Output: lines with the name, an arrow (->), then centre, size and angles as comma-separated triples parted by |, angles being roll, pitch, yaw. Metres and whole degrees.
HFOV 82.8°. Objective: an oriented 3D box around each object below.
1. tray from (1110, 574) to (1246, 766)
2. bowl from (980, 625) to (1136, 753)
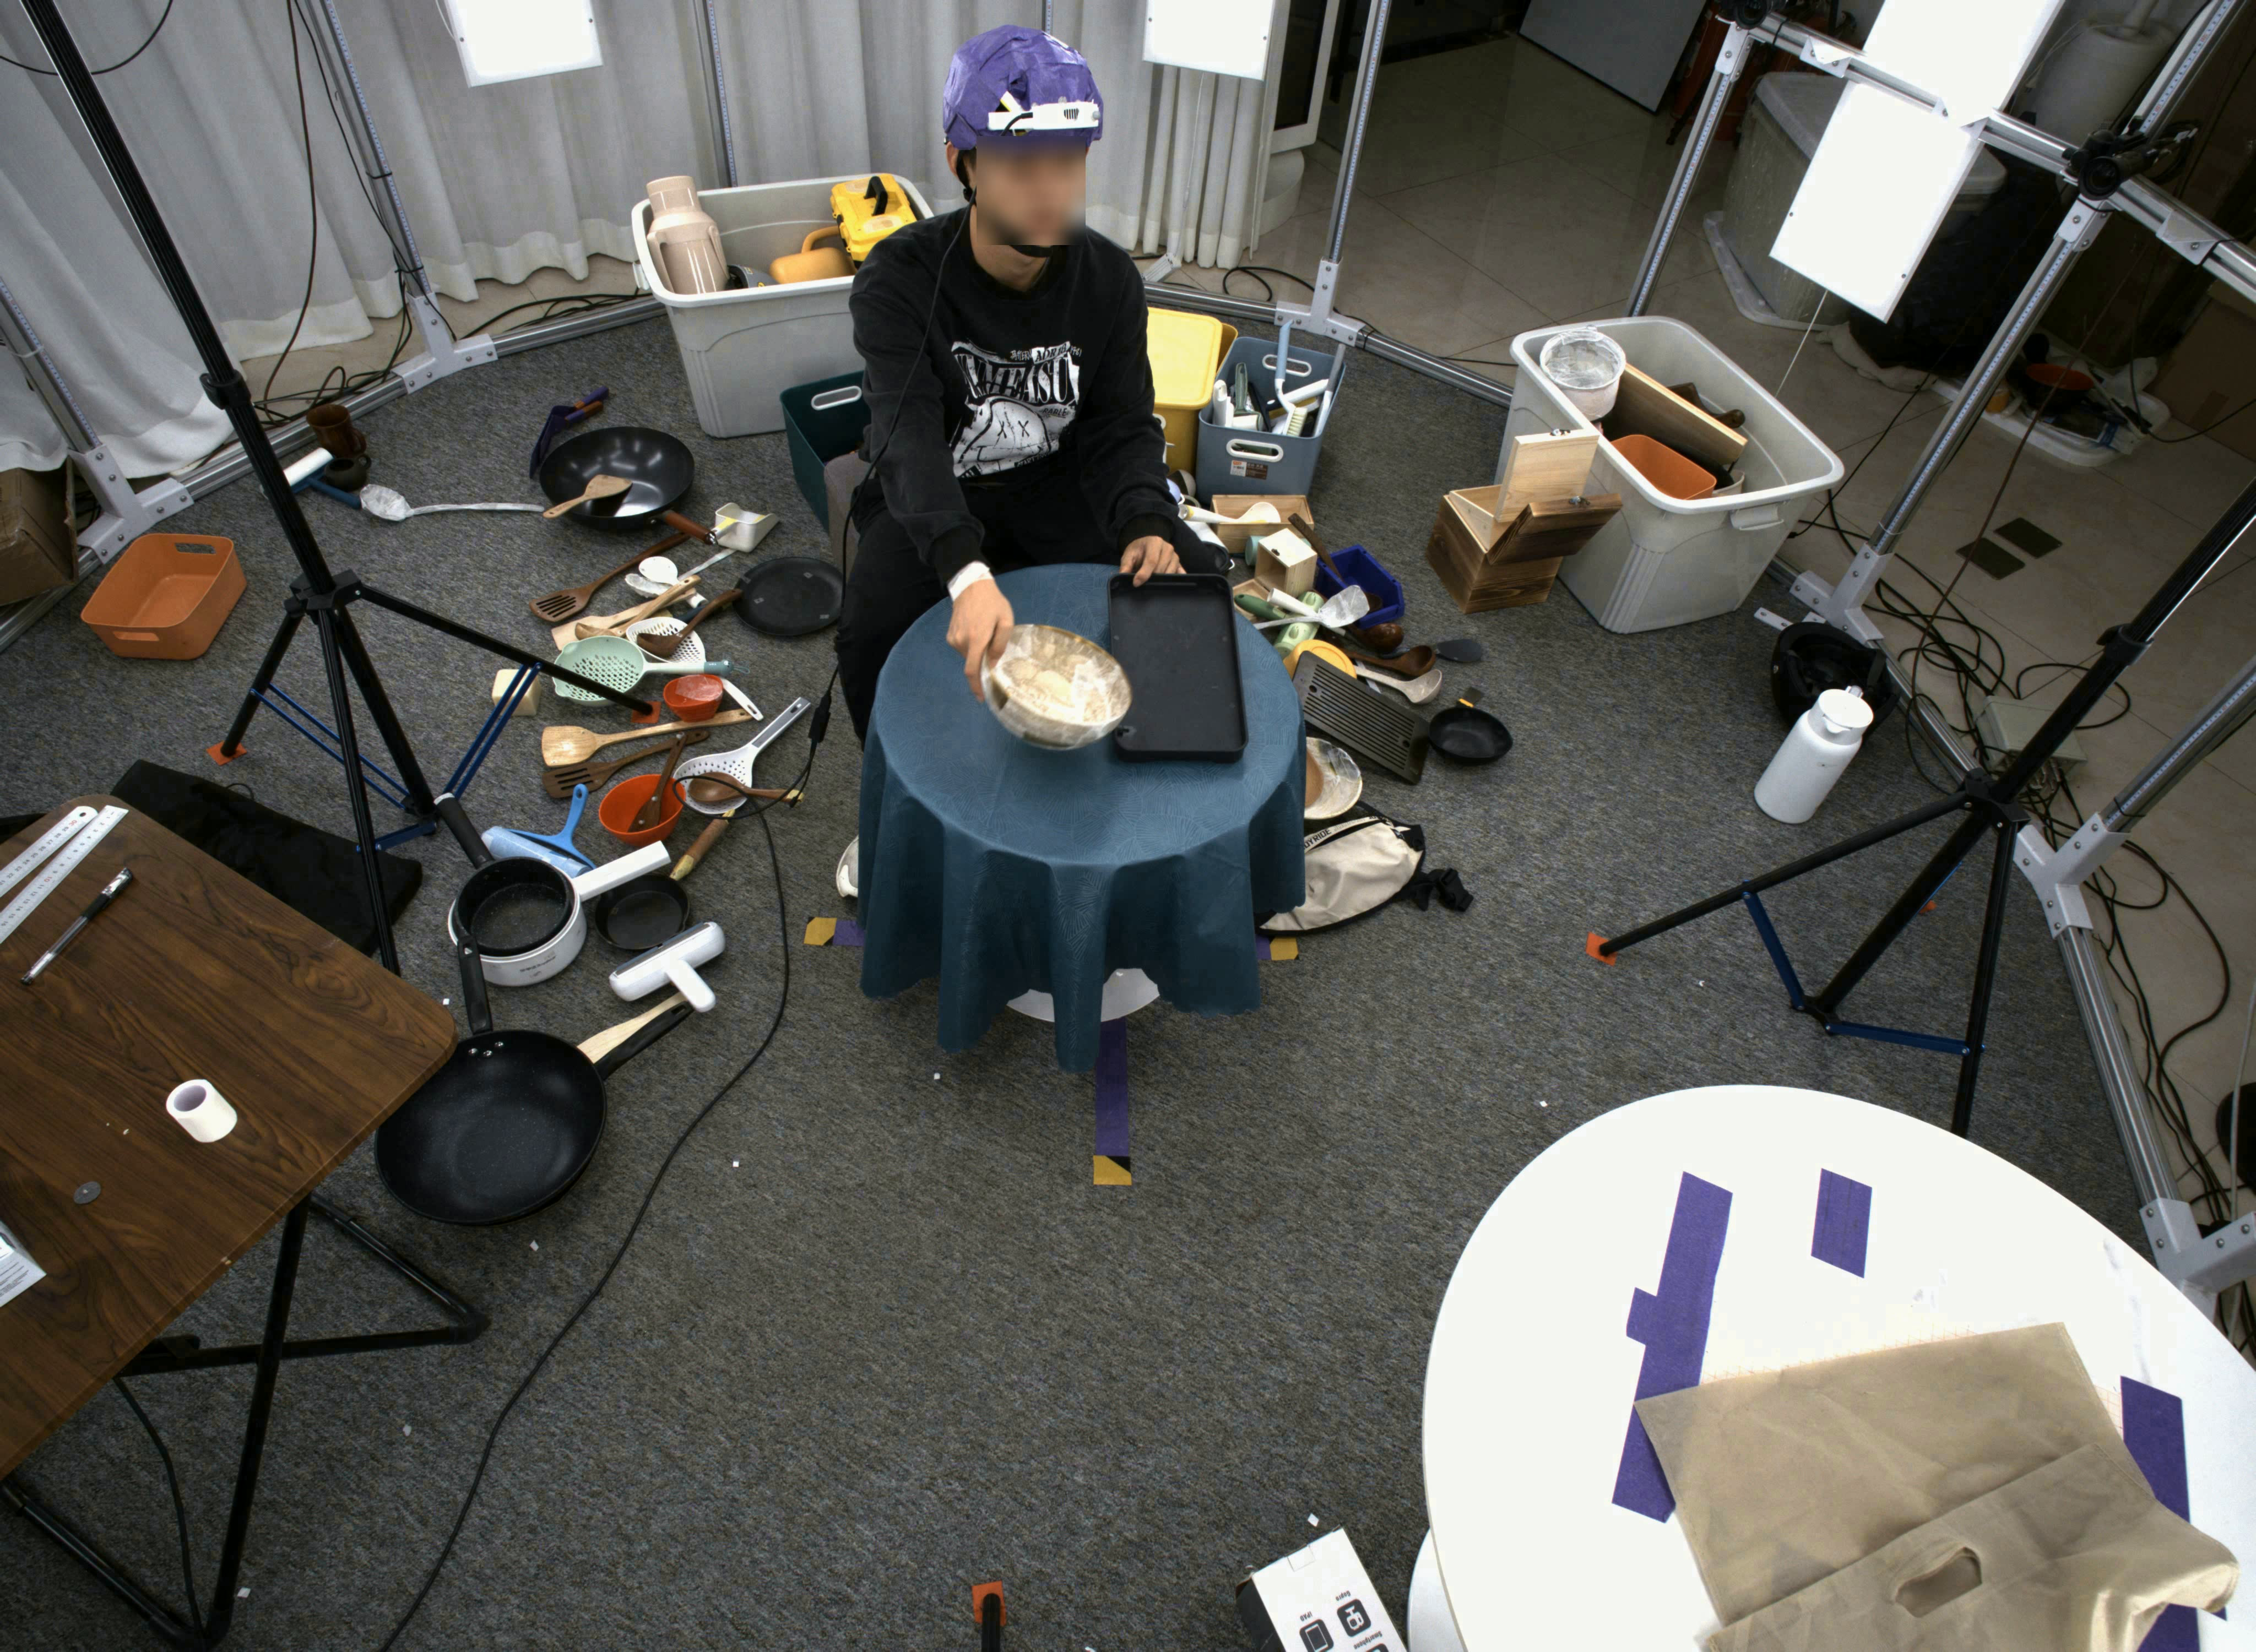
tray -> 0.067, -0.227, 1.837 | 0.184, 0.036, 0.325 | 1, 57, -4
bowl -> -0.105, -0.167, 1.695 | 0.213, 0.092, 0.220 | 14, 40, -12
